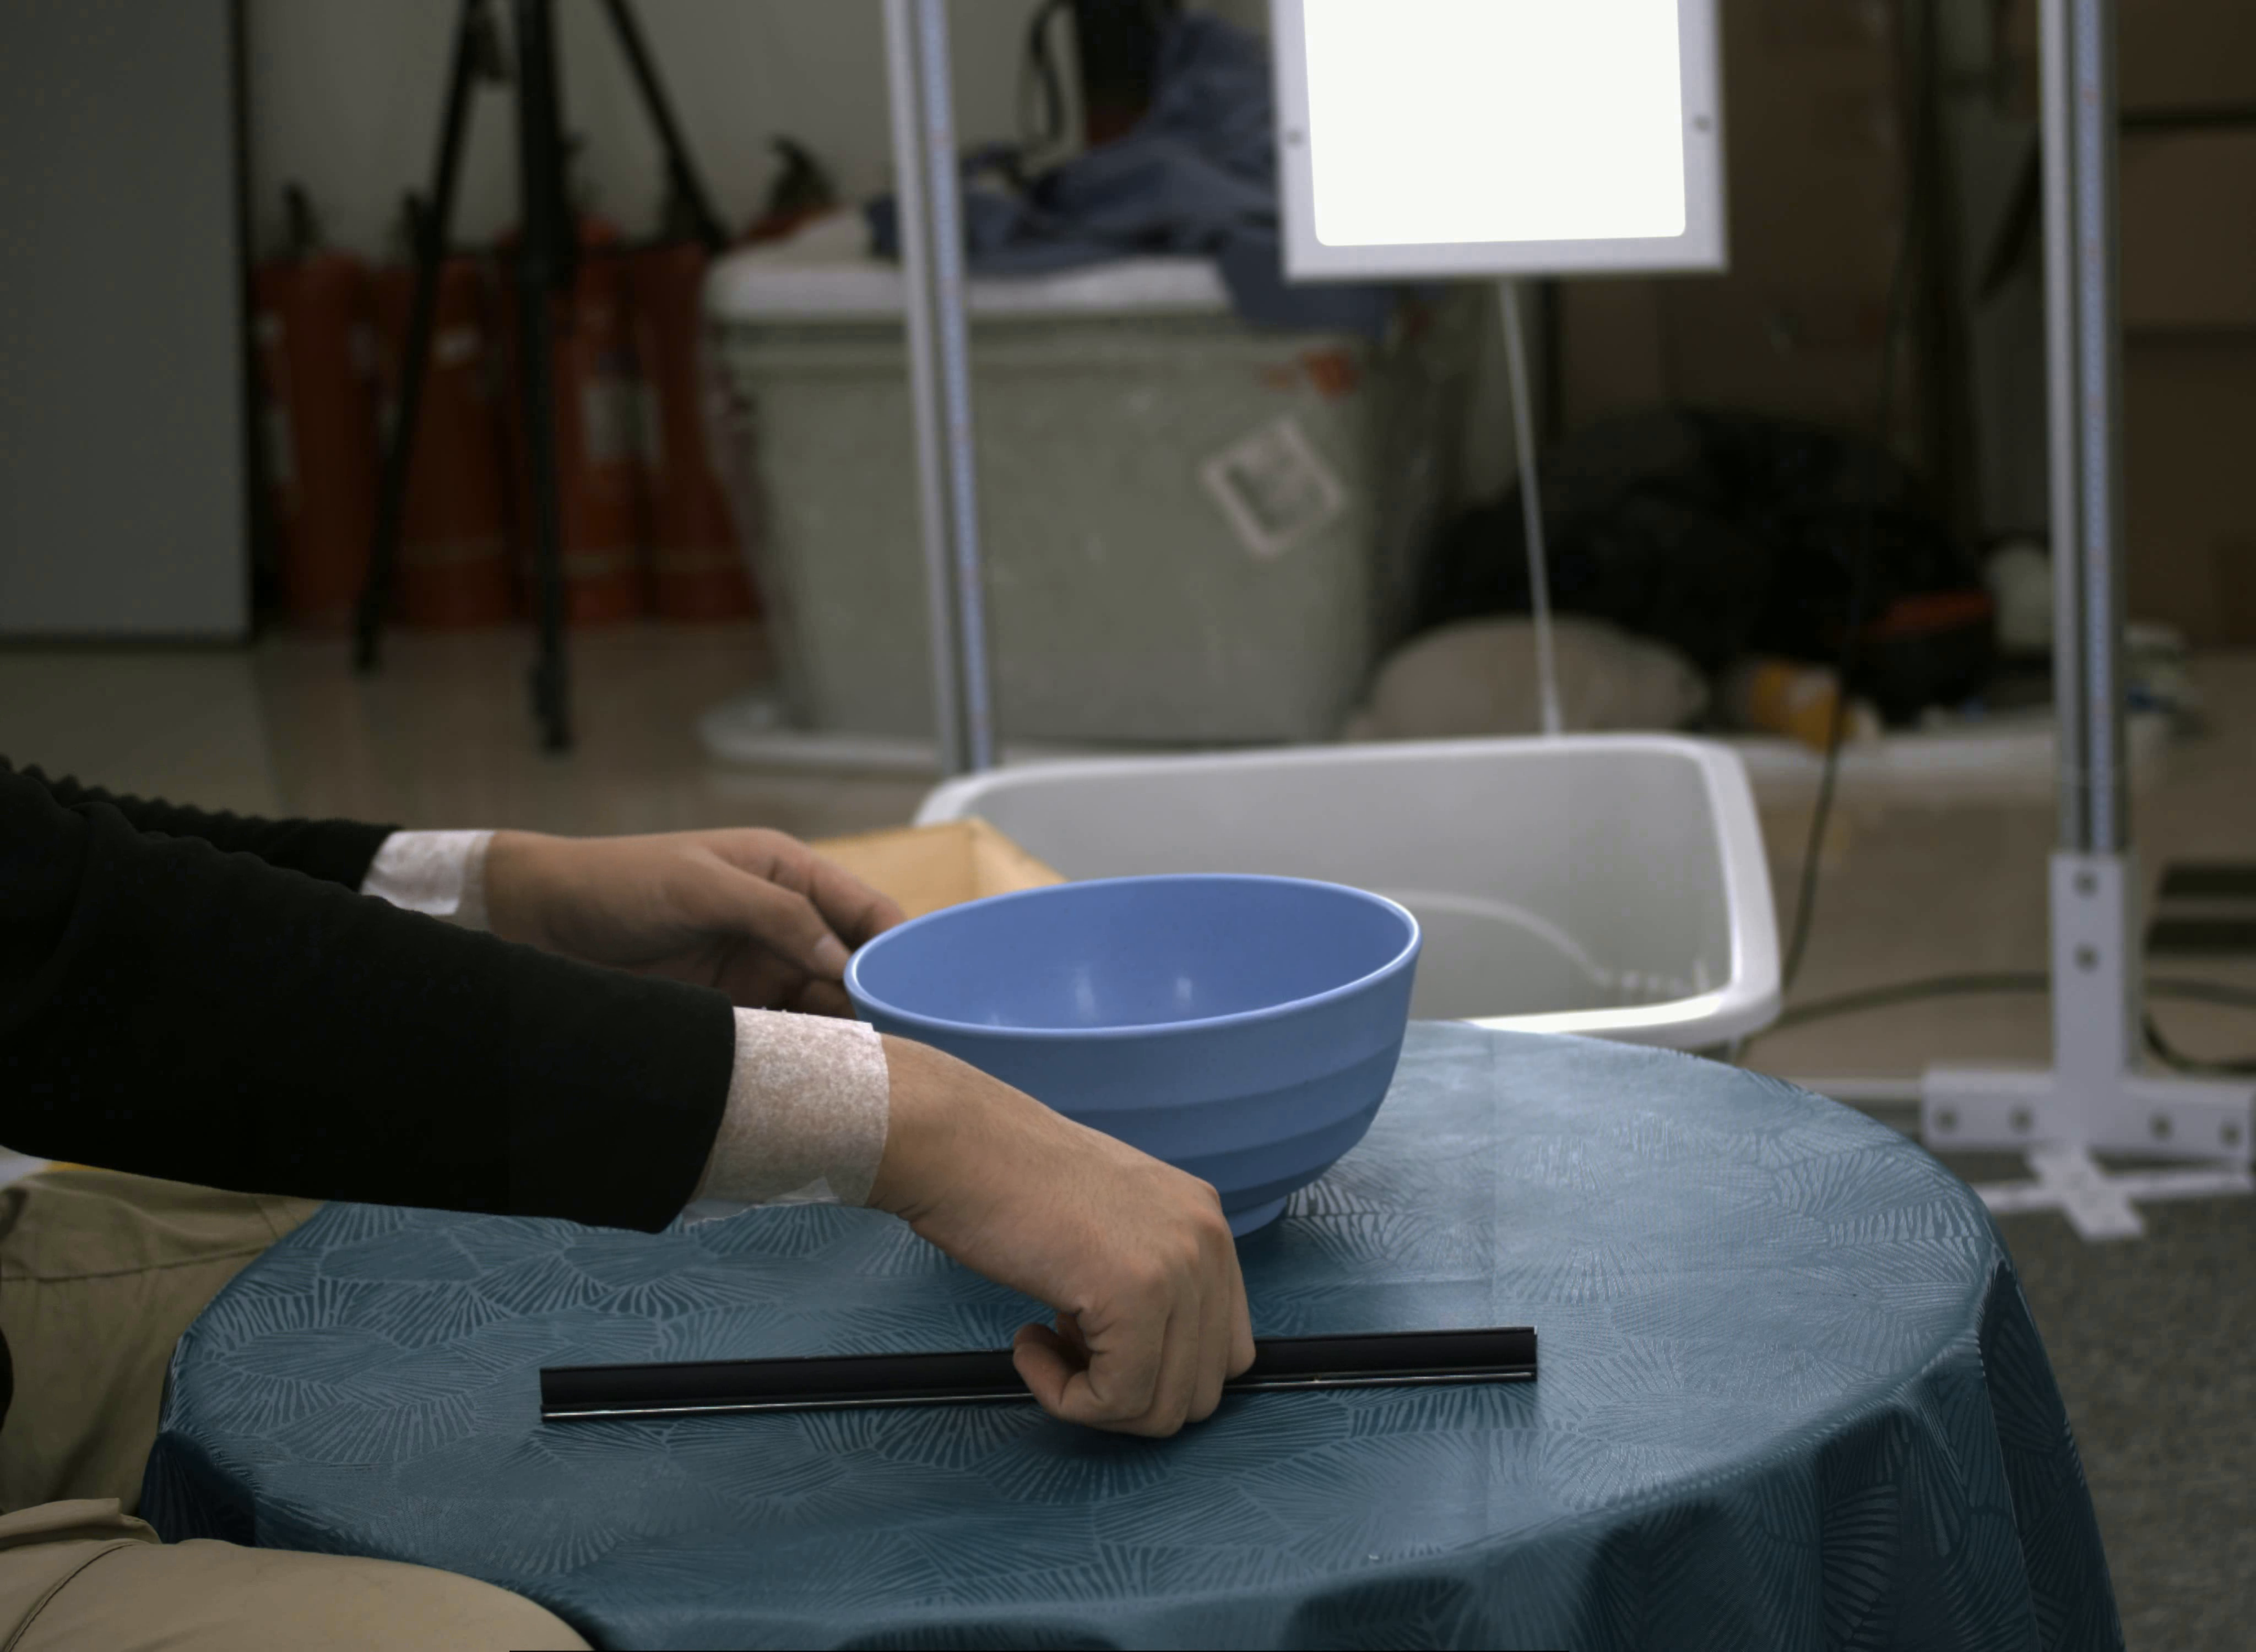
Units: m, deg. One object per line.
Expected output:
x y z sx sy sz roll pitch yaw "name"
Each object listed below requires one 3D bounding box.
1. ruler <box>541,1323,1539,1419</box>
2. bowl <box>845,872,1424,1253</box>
-0.028 0.164 1.716 0.314 0.017 0.039 -3 14 9 "ruler"
0.005 0.086 1.863 0.196 0.096 0.196 -4 13 0 "bowl"
